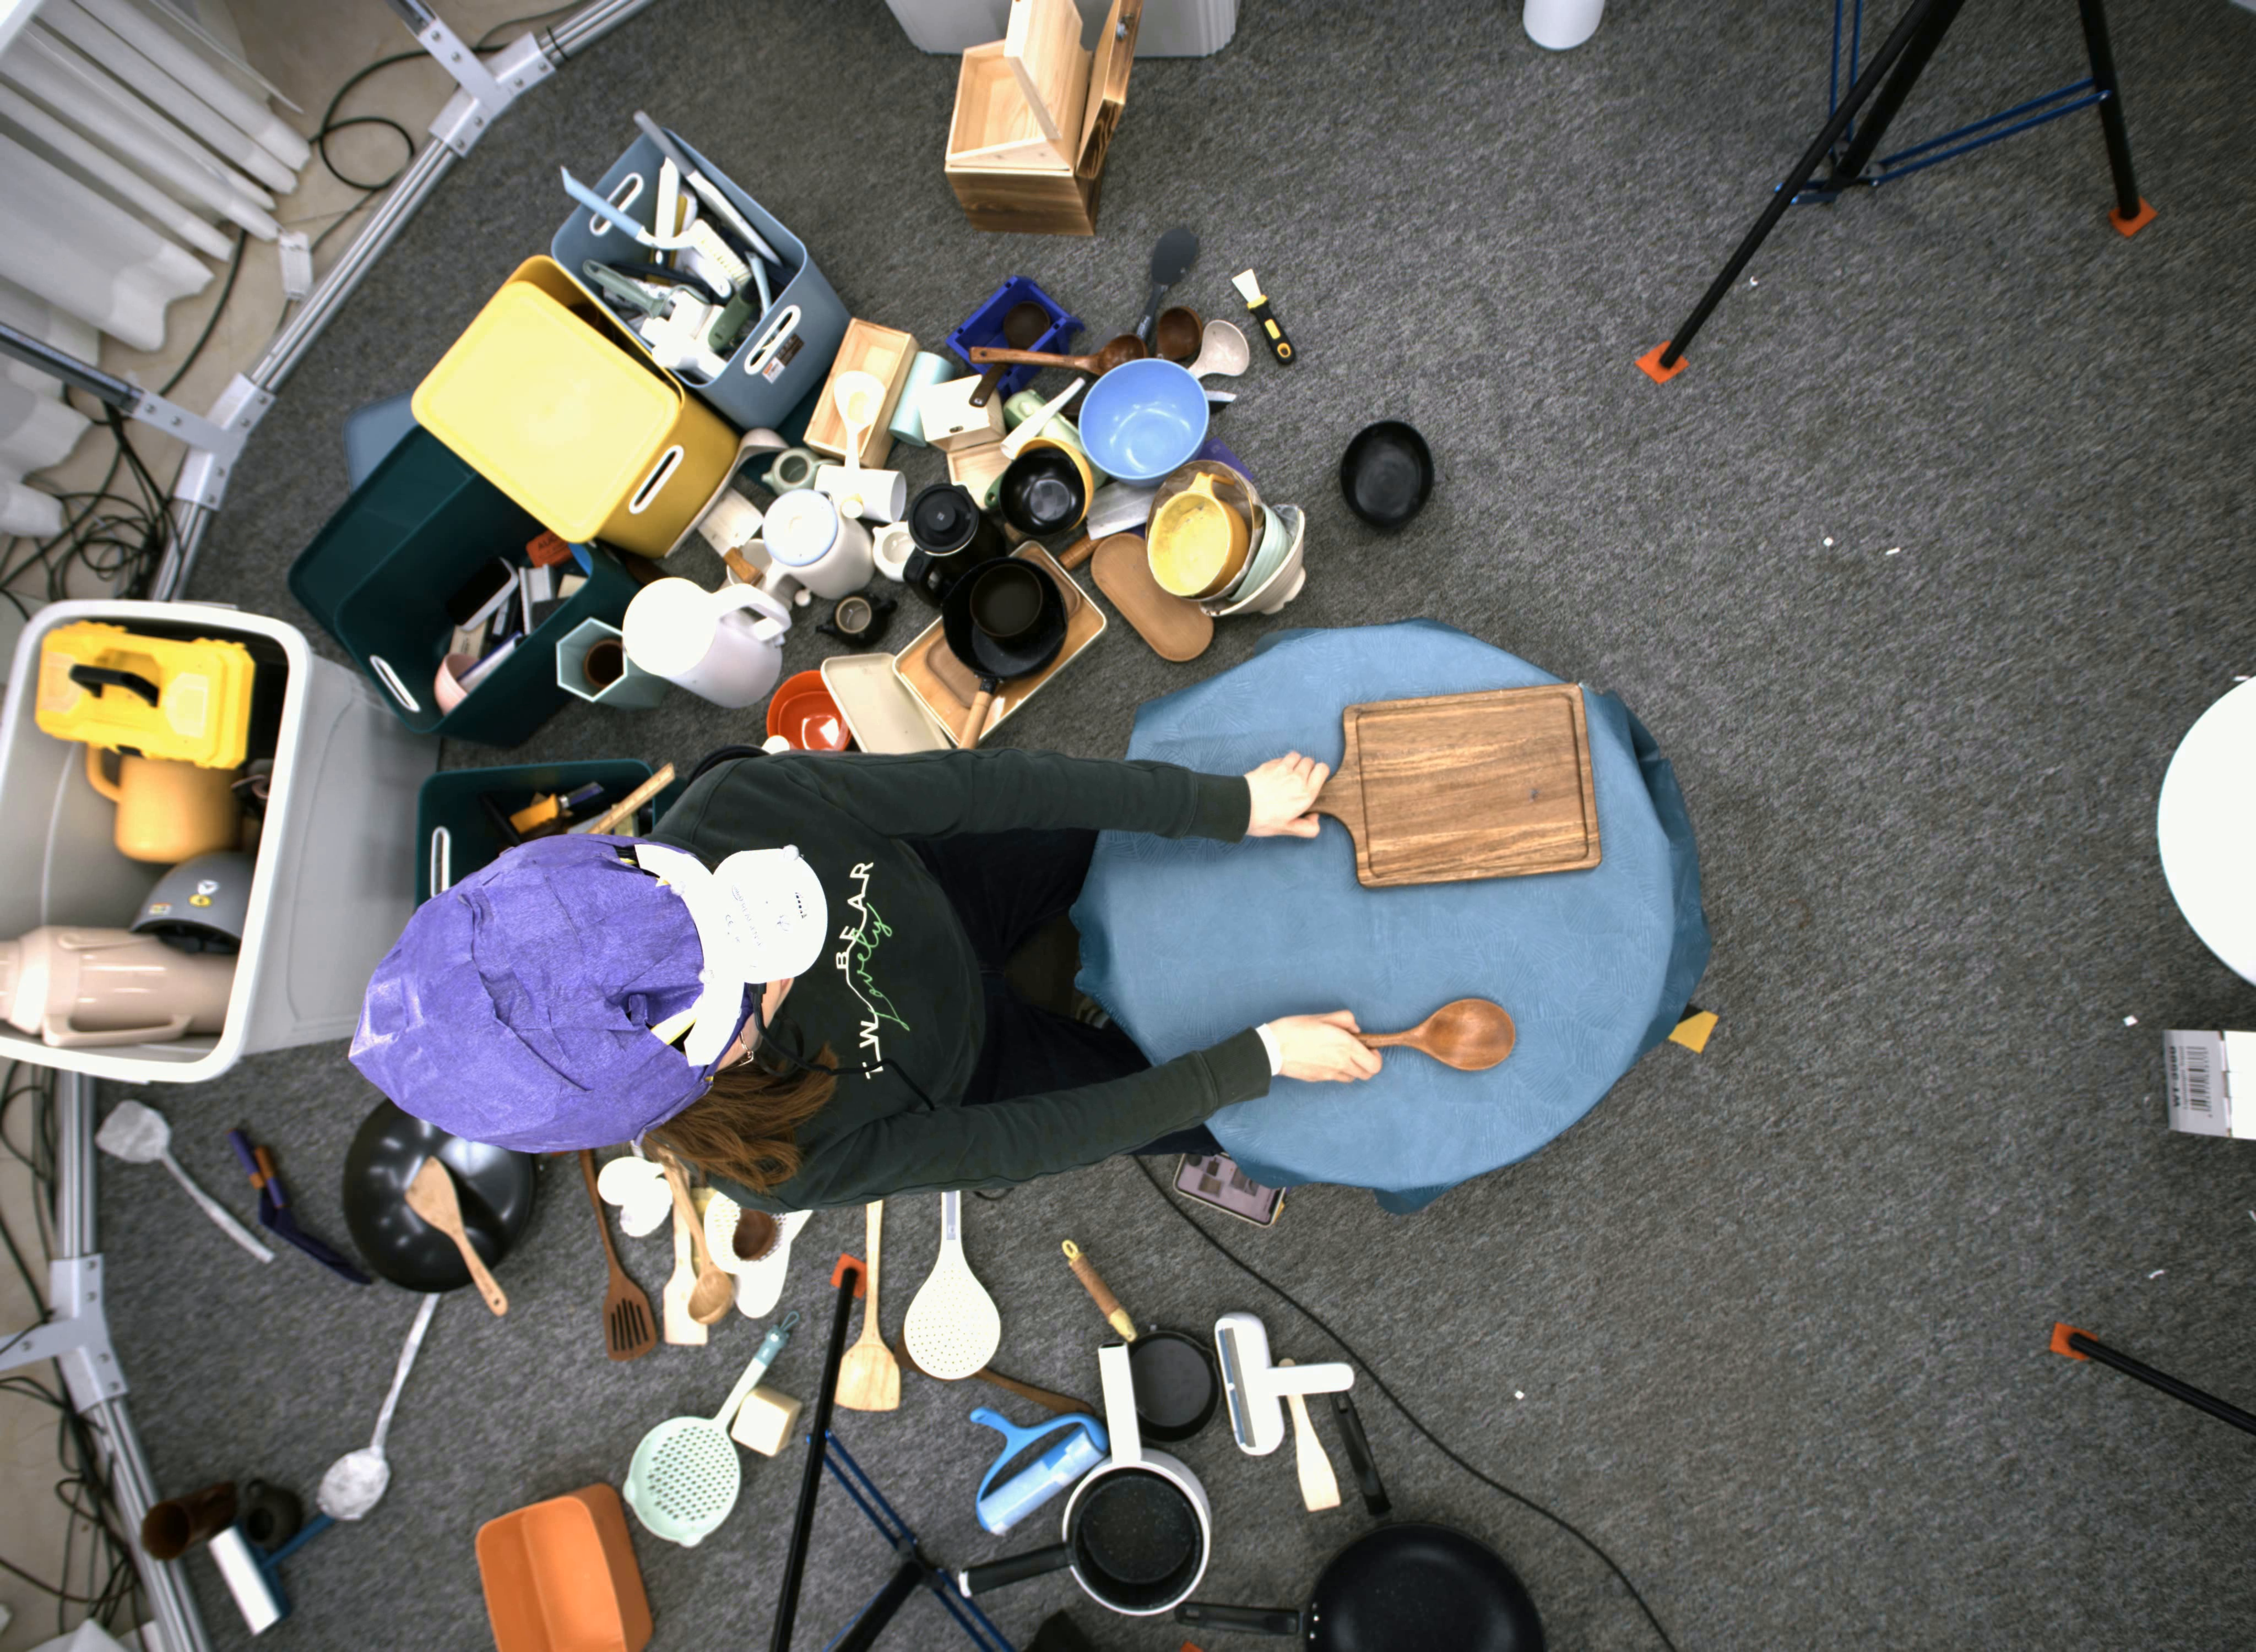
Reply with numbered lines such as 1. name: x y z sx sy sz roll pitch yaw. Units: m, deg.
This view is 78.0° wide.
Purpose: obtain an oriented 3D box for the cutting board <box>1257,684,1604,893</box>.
1. cutting board: 0.311 -0.037 1.452 0.353 0.023 0.200 -5 86 9

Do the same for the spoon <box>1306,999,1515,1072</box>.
1. spoon: 0.292 0.219 1.433 0.216 0.017 0.075 -4 86 3
